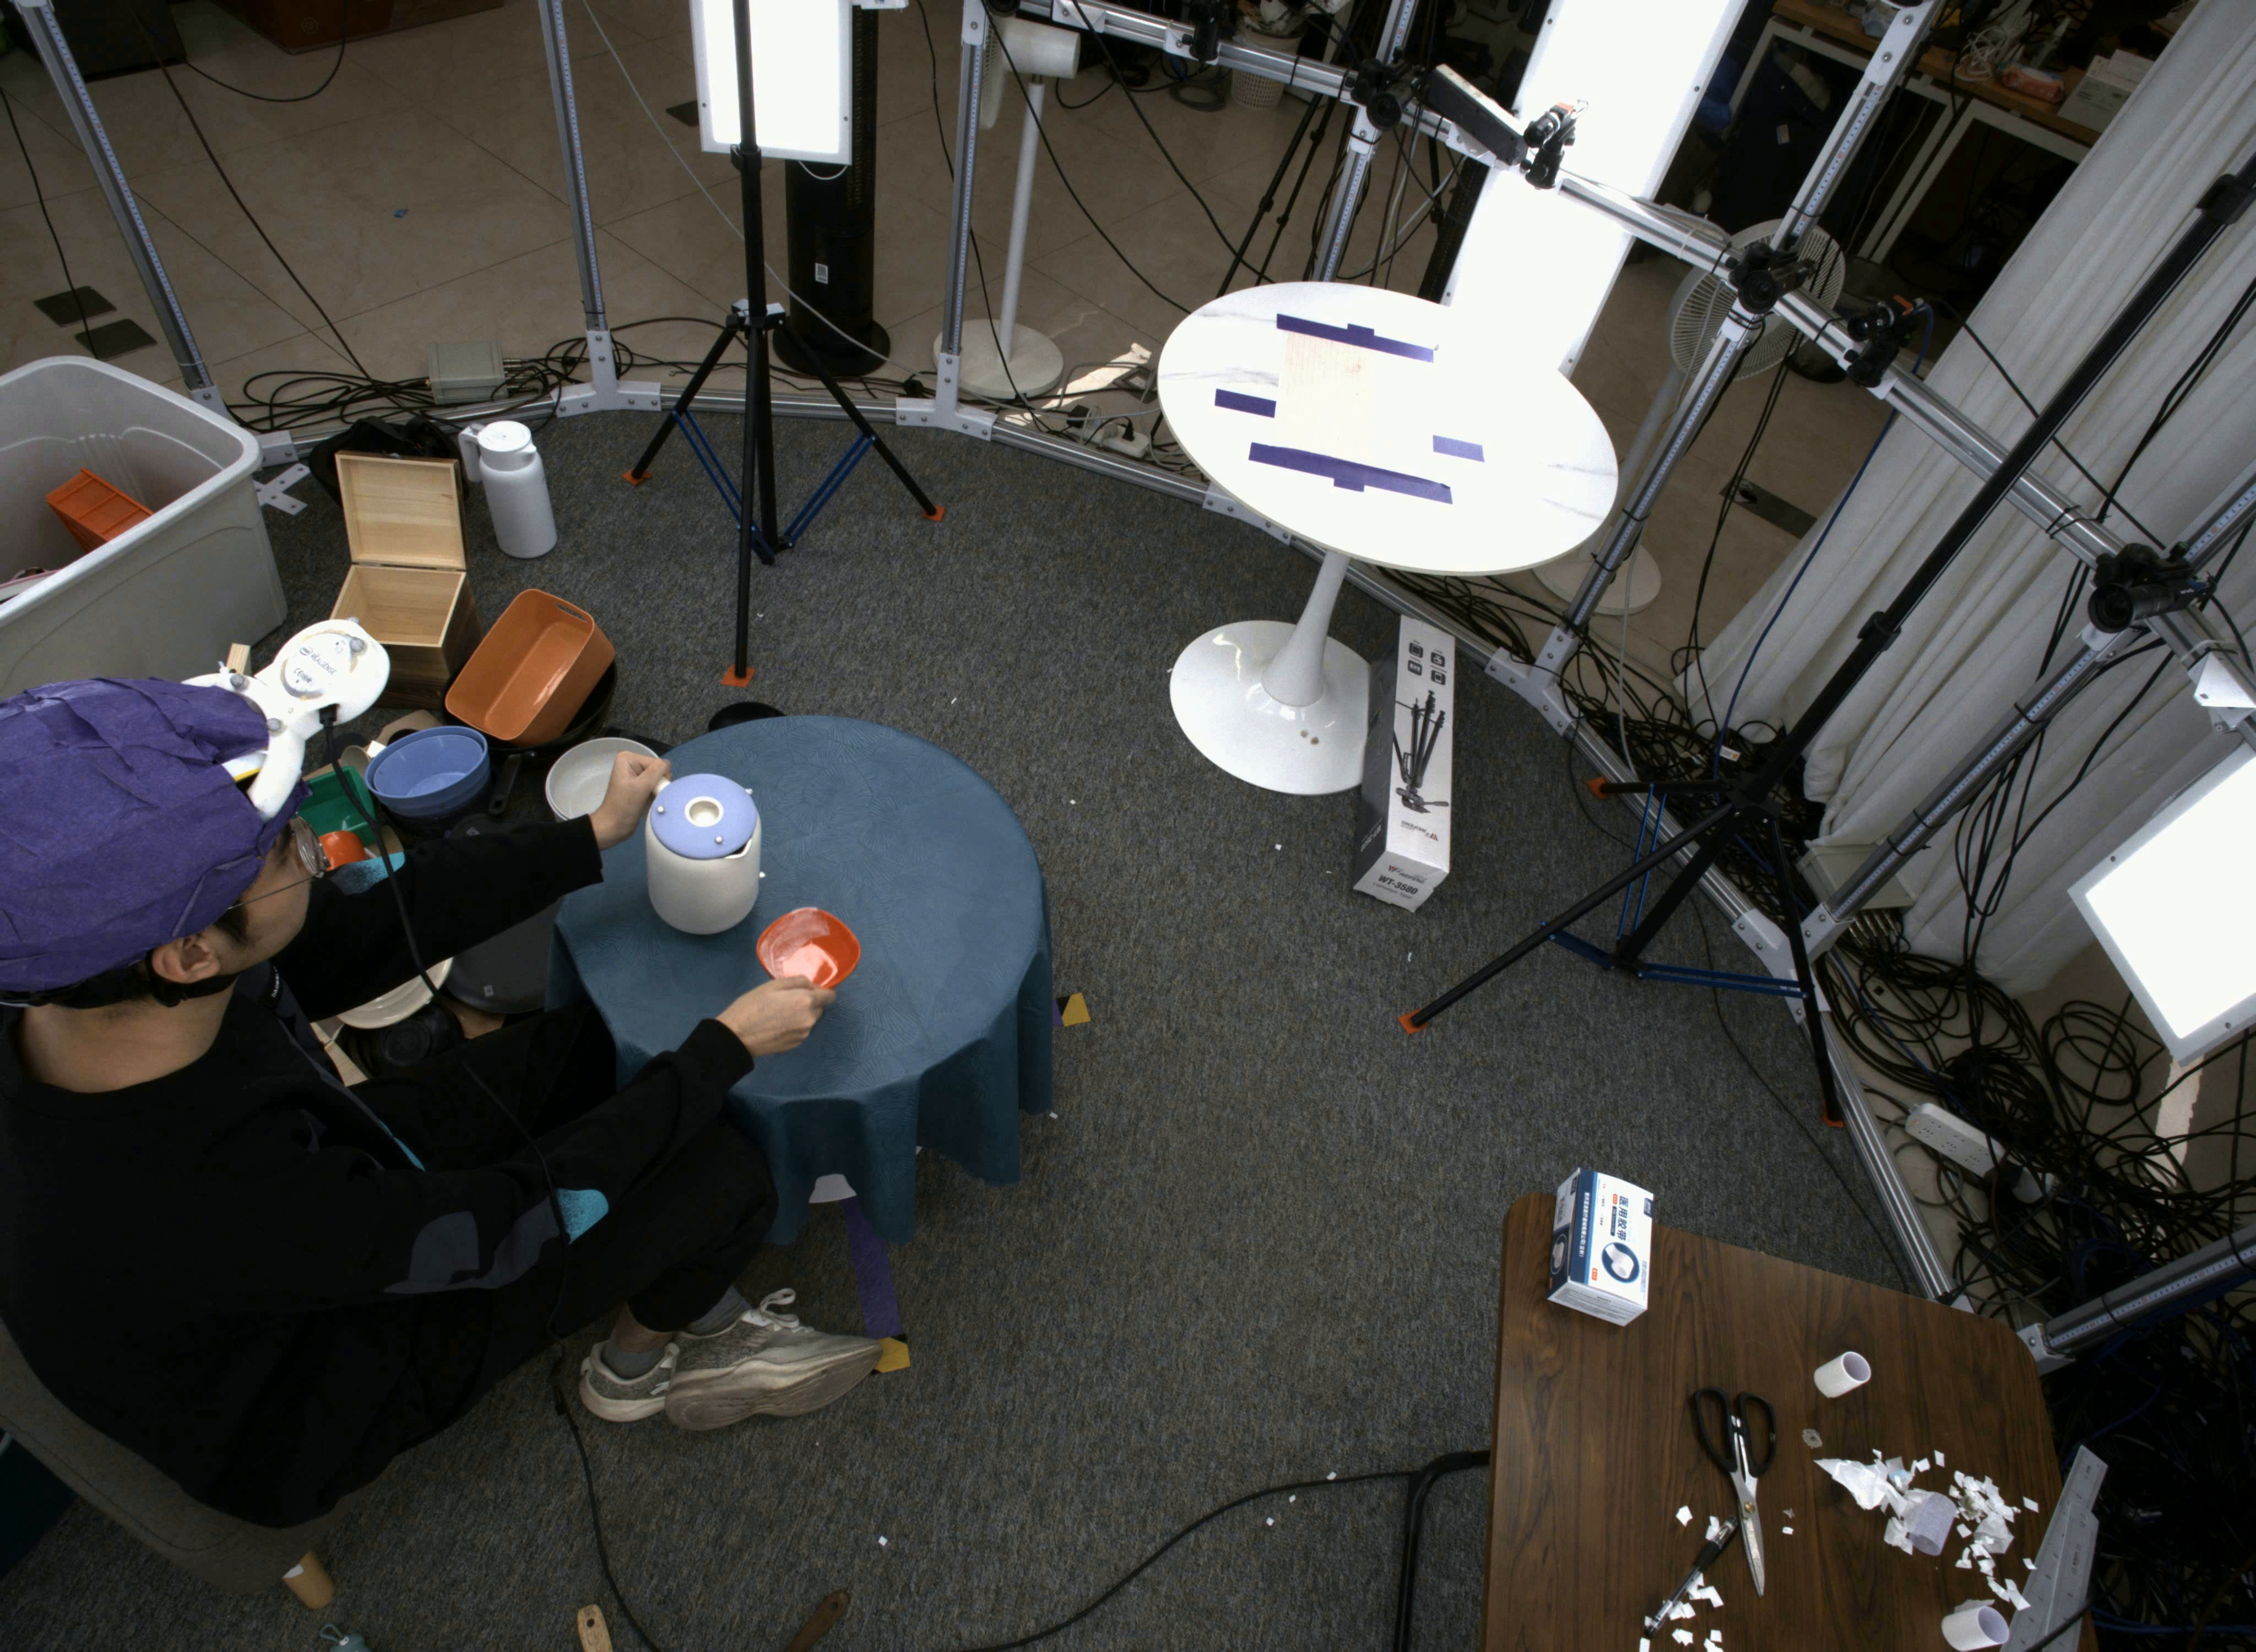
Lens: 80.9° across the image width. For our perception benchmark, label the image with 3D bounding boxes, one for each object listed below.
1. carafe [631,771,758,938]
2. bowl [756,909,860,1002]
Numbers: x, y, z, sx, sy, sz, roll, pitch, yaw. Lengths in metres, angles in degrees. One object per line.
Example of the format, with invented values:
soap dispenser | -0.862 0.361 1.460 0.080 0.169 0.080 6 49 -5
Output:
carafe | -0.526 0.018 1.538 0.188 0.186 0.132 37 52 12
bowl | -0.378 0.159 1.524 0.119 0.052 0.116 13 48 -13
